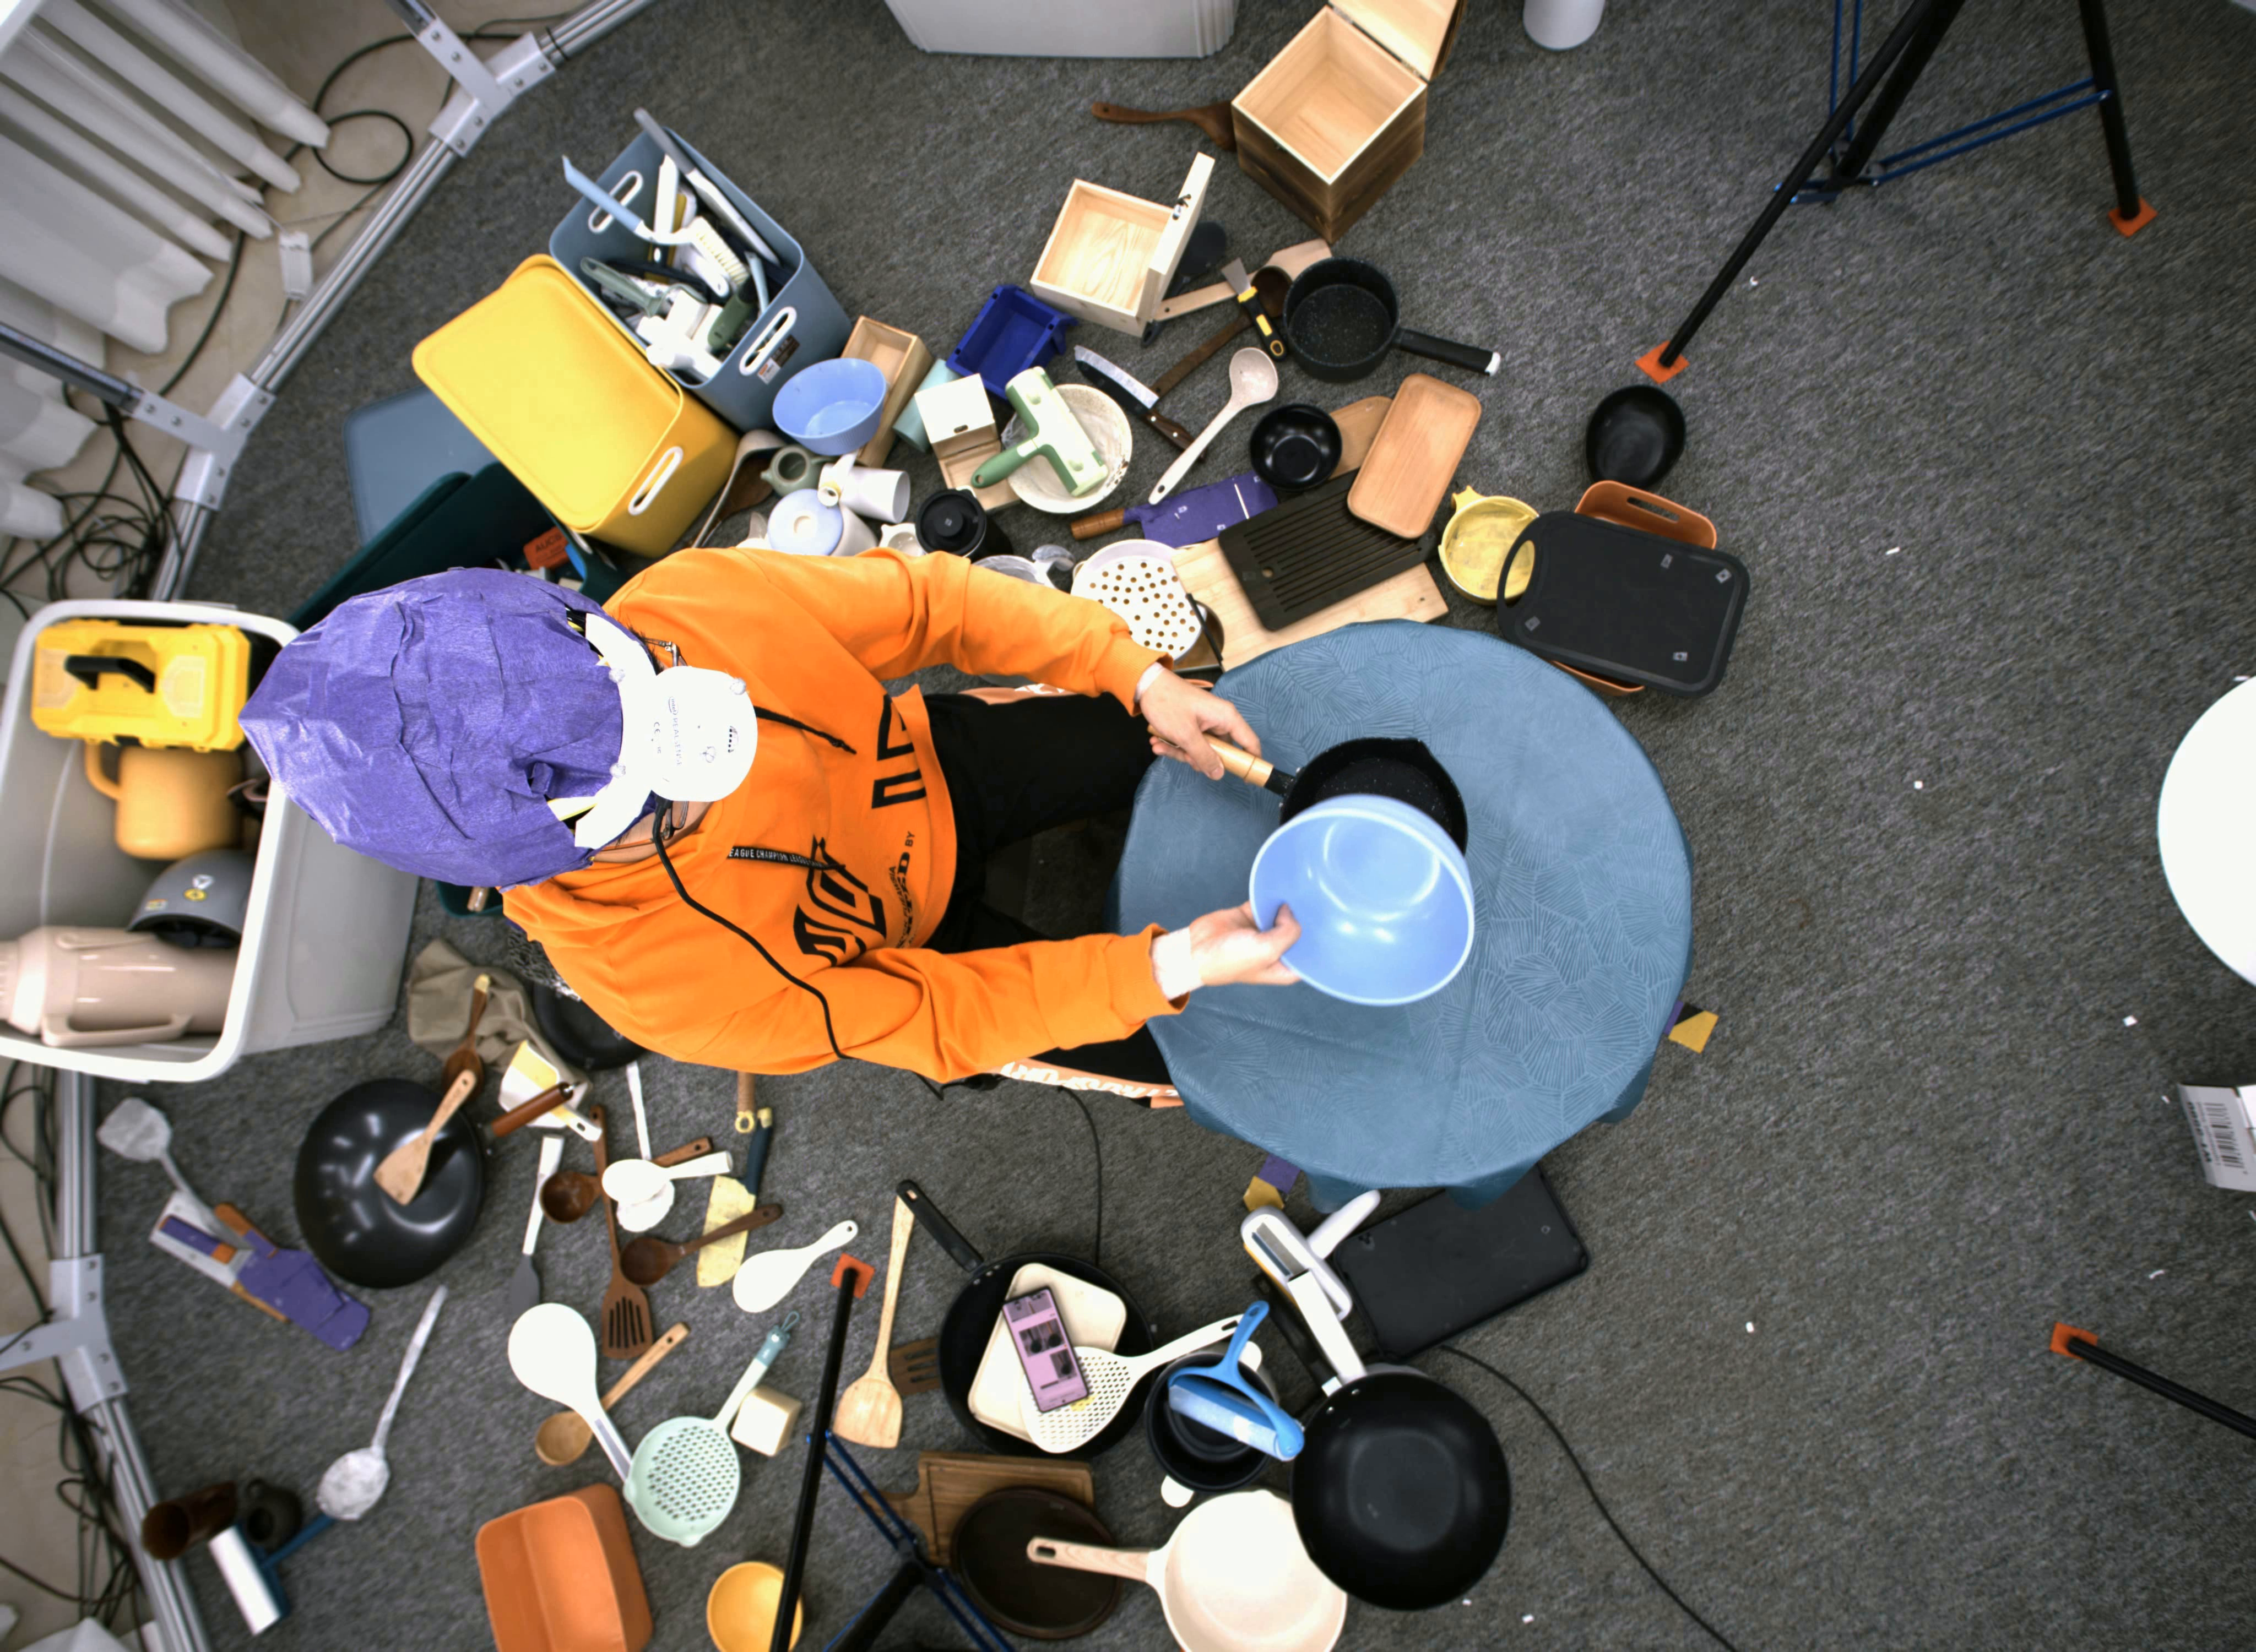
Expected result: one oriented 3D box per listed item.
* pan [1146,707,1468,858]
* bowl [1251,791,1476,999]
[{"bbox_3d":[0.178,-0.032,1.399,0.342,0.107,0.209,27,101,11],"label":"pan"},{"bbox_3d":[0.215,0.045,1.207,0.197,0.093,0.201,14,128,19],"label":"bowl"}]
